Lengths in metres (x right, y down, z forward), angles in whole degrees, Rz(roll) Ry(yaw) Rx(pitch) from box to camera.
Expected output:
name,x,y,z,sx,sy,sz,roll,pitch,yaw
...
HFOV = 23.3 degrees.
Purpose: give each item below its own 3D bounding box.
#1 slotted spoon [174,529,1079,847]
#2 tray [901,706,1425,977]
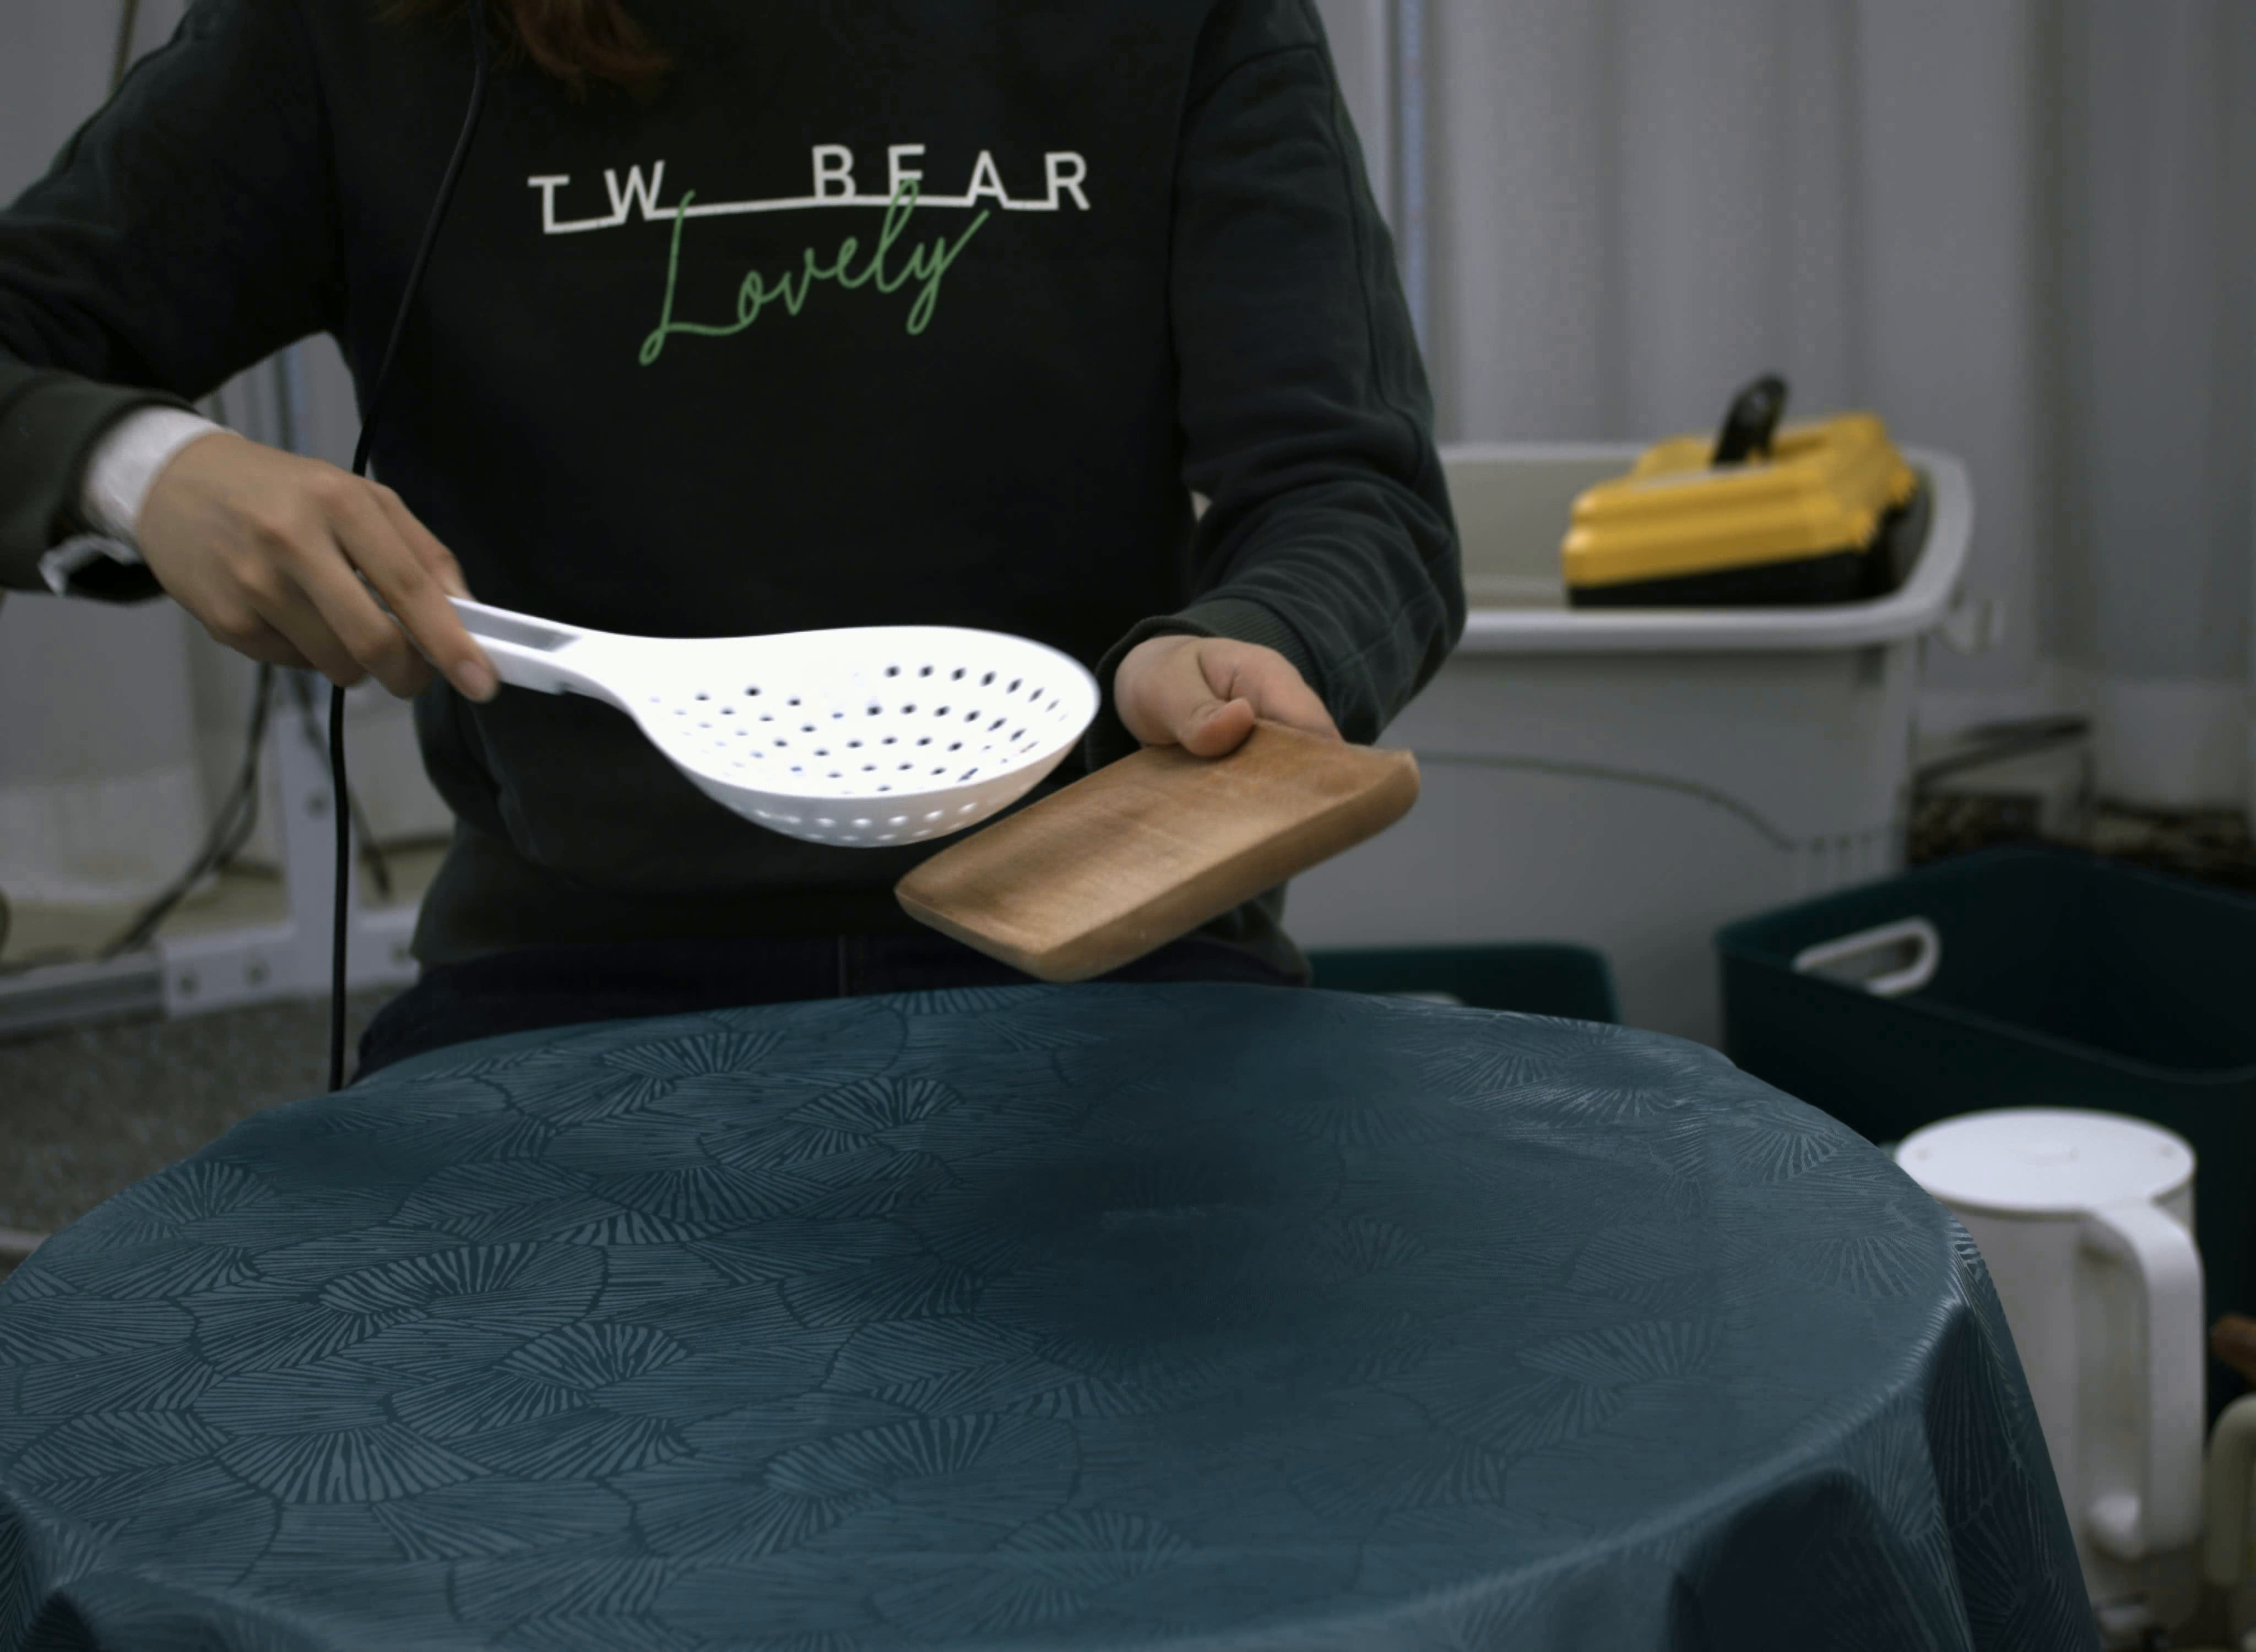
name,x,y,z,sx,sy,sz,roll,pitch,yaw
slotted spoon,-0.171,-0.053,1.754,0.352,0.045,0.136,19,29,30
tray,0.007,0.003,1.642,0.130,0.023,0.251,-26,8,-10
